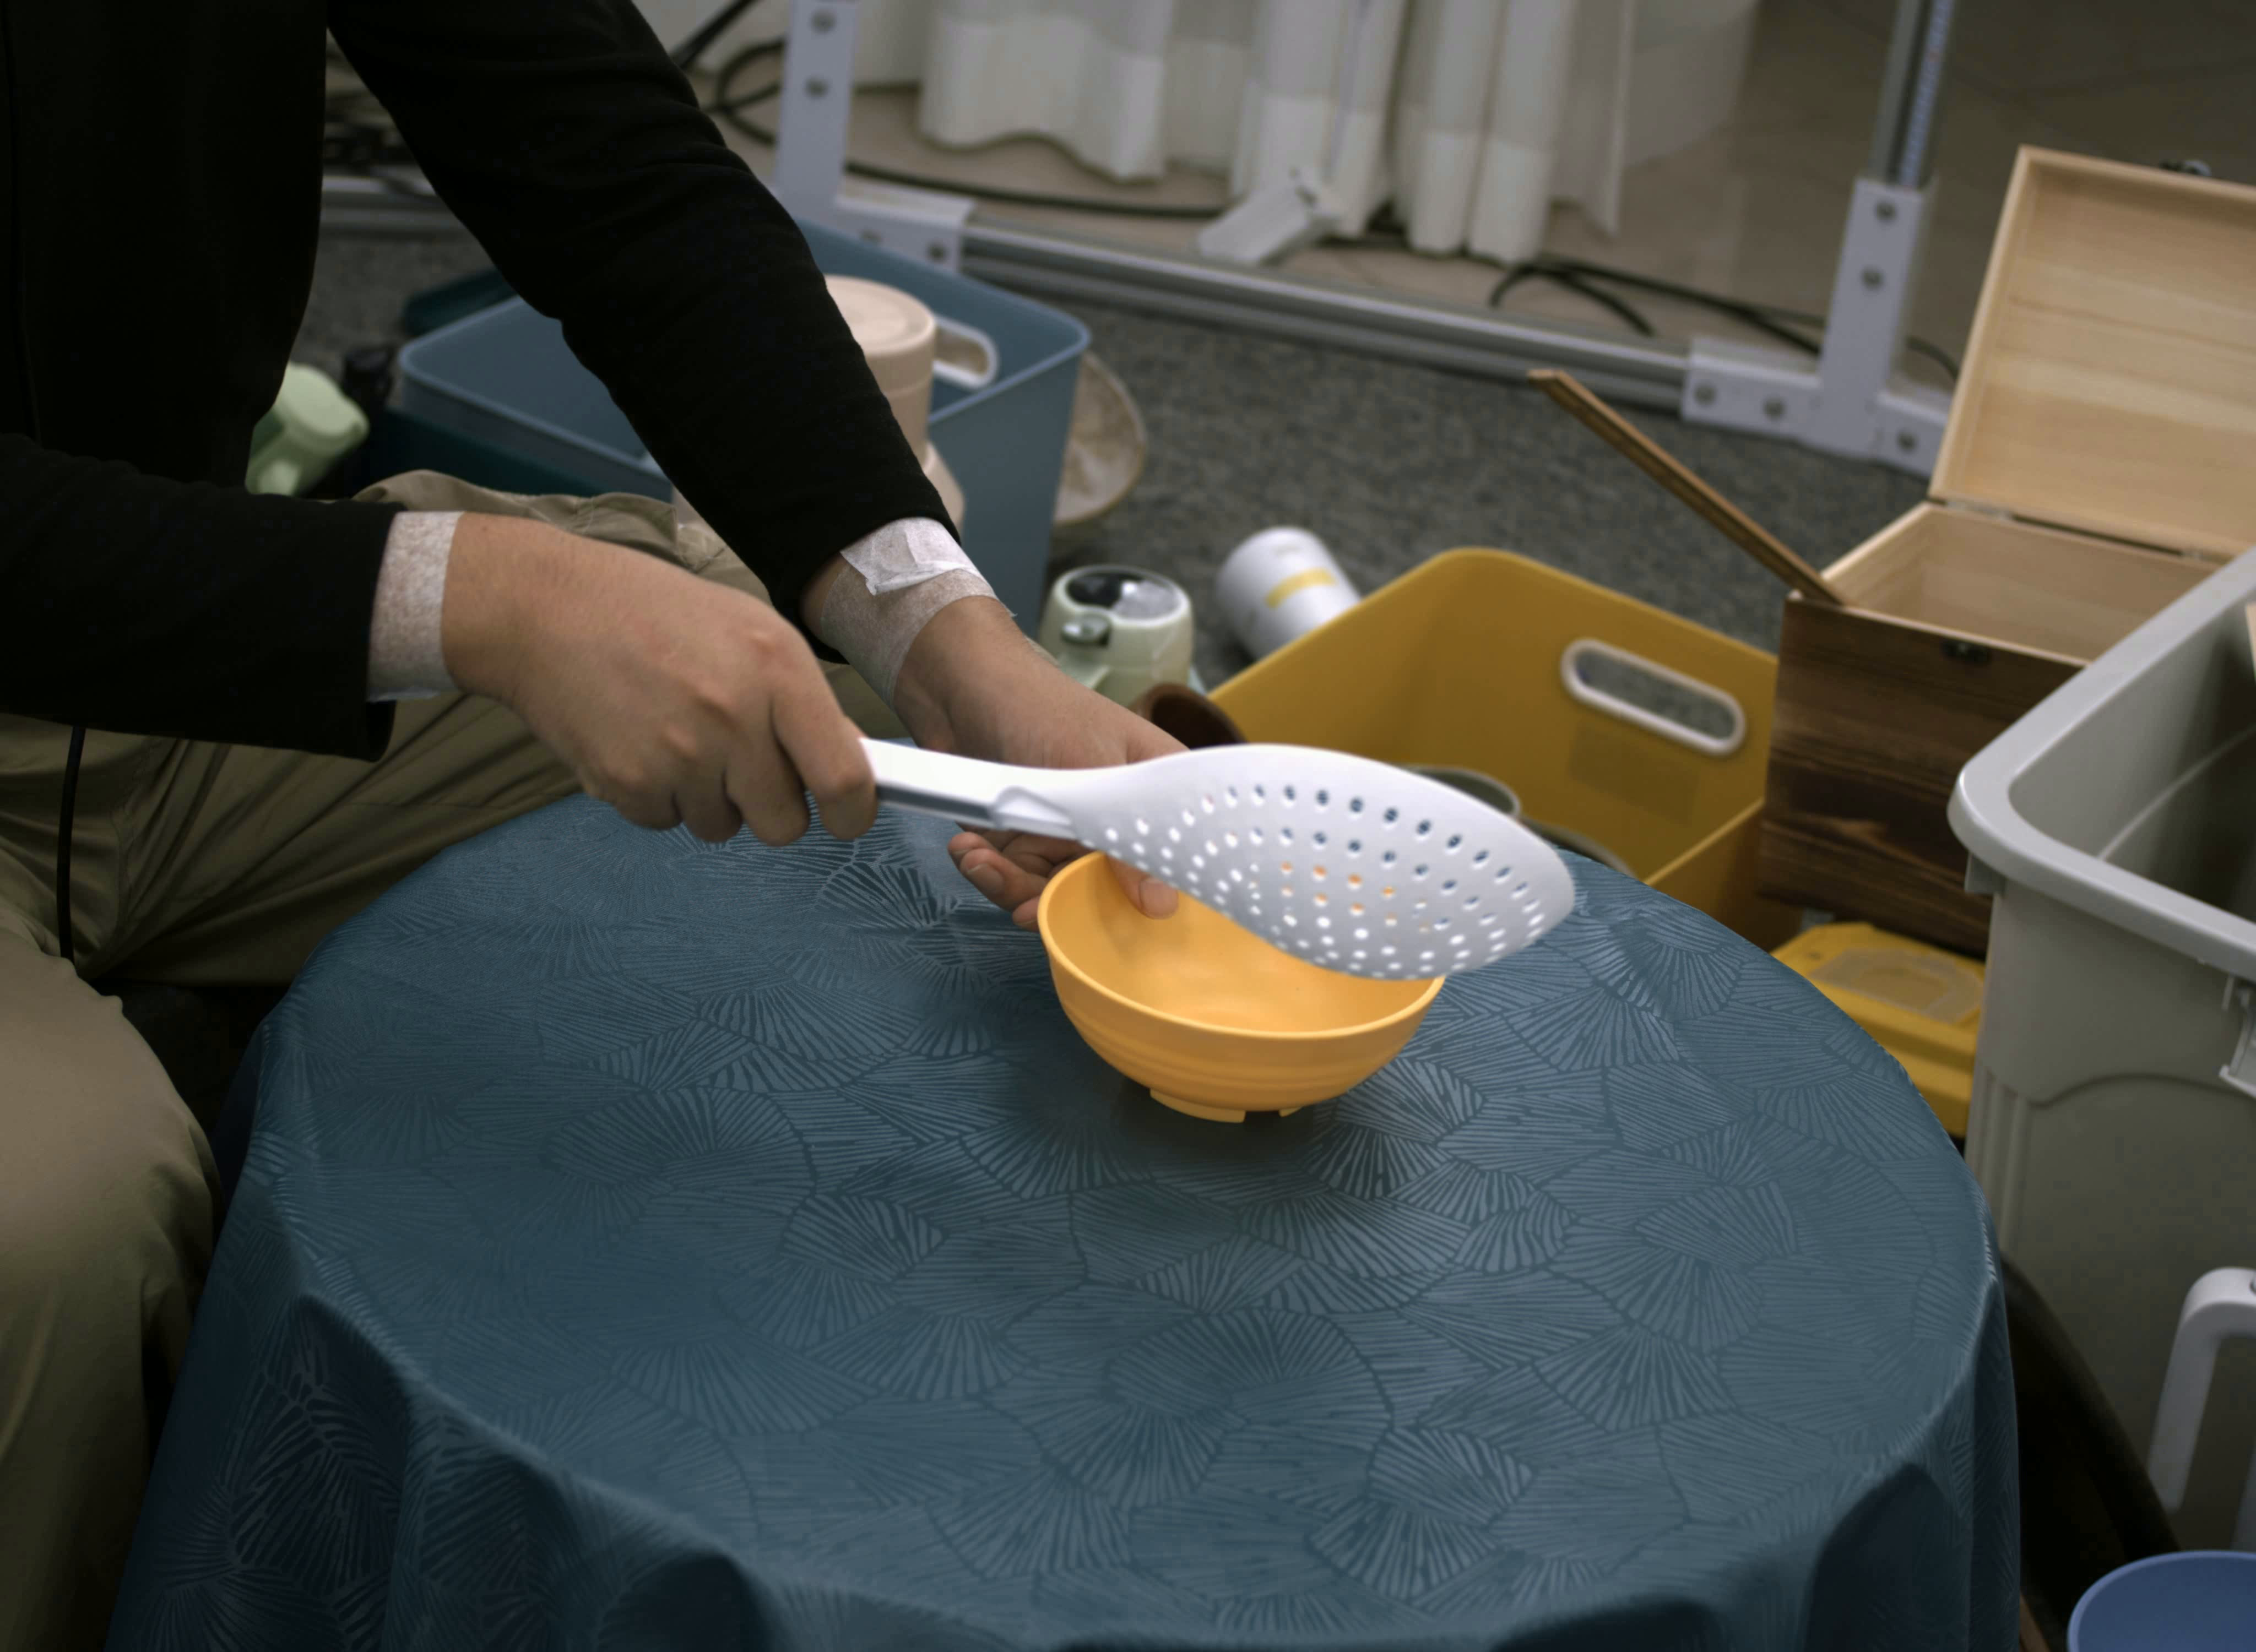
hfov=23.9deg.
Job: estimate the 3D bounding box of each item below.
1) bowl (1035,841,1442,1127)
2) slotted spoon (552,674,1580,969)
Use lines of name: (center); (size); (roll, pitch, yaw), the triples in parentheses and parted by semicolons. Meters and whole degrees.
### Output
bowl: (0.034, 0.063, 1.864); (0.145, 0.060, 0.146); (7, 26, -4)
slotted spoon: (-0.026, -0.010, 1.718); (0.351, 0.135, 0.046); (15, 68, 20)
